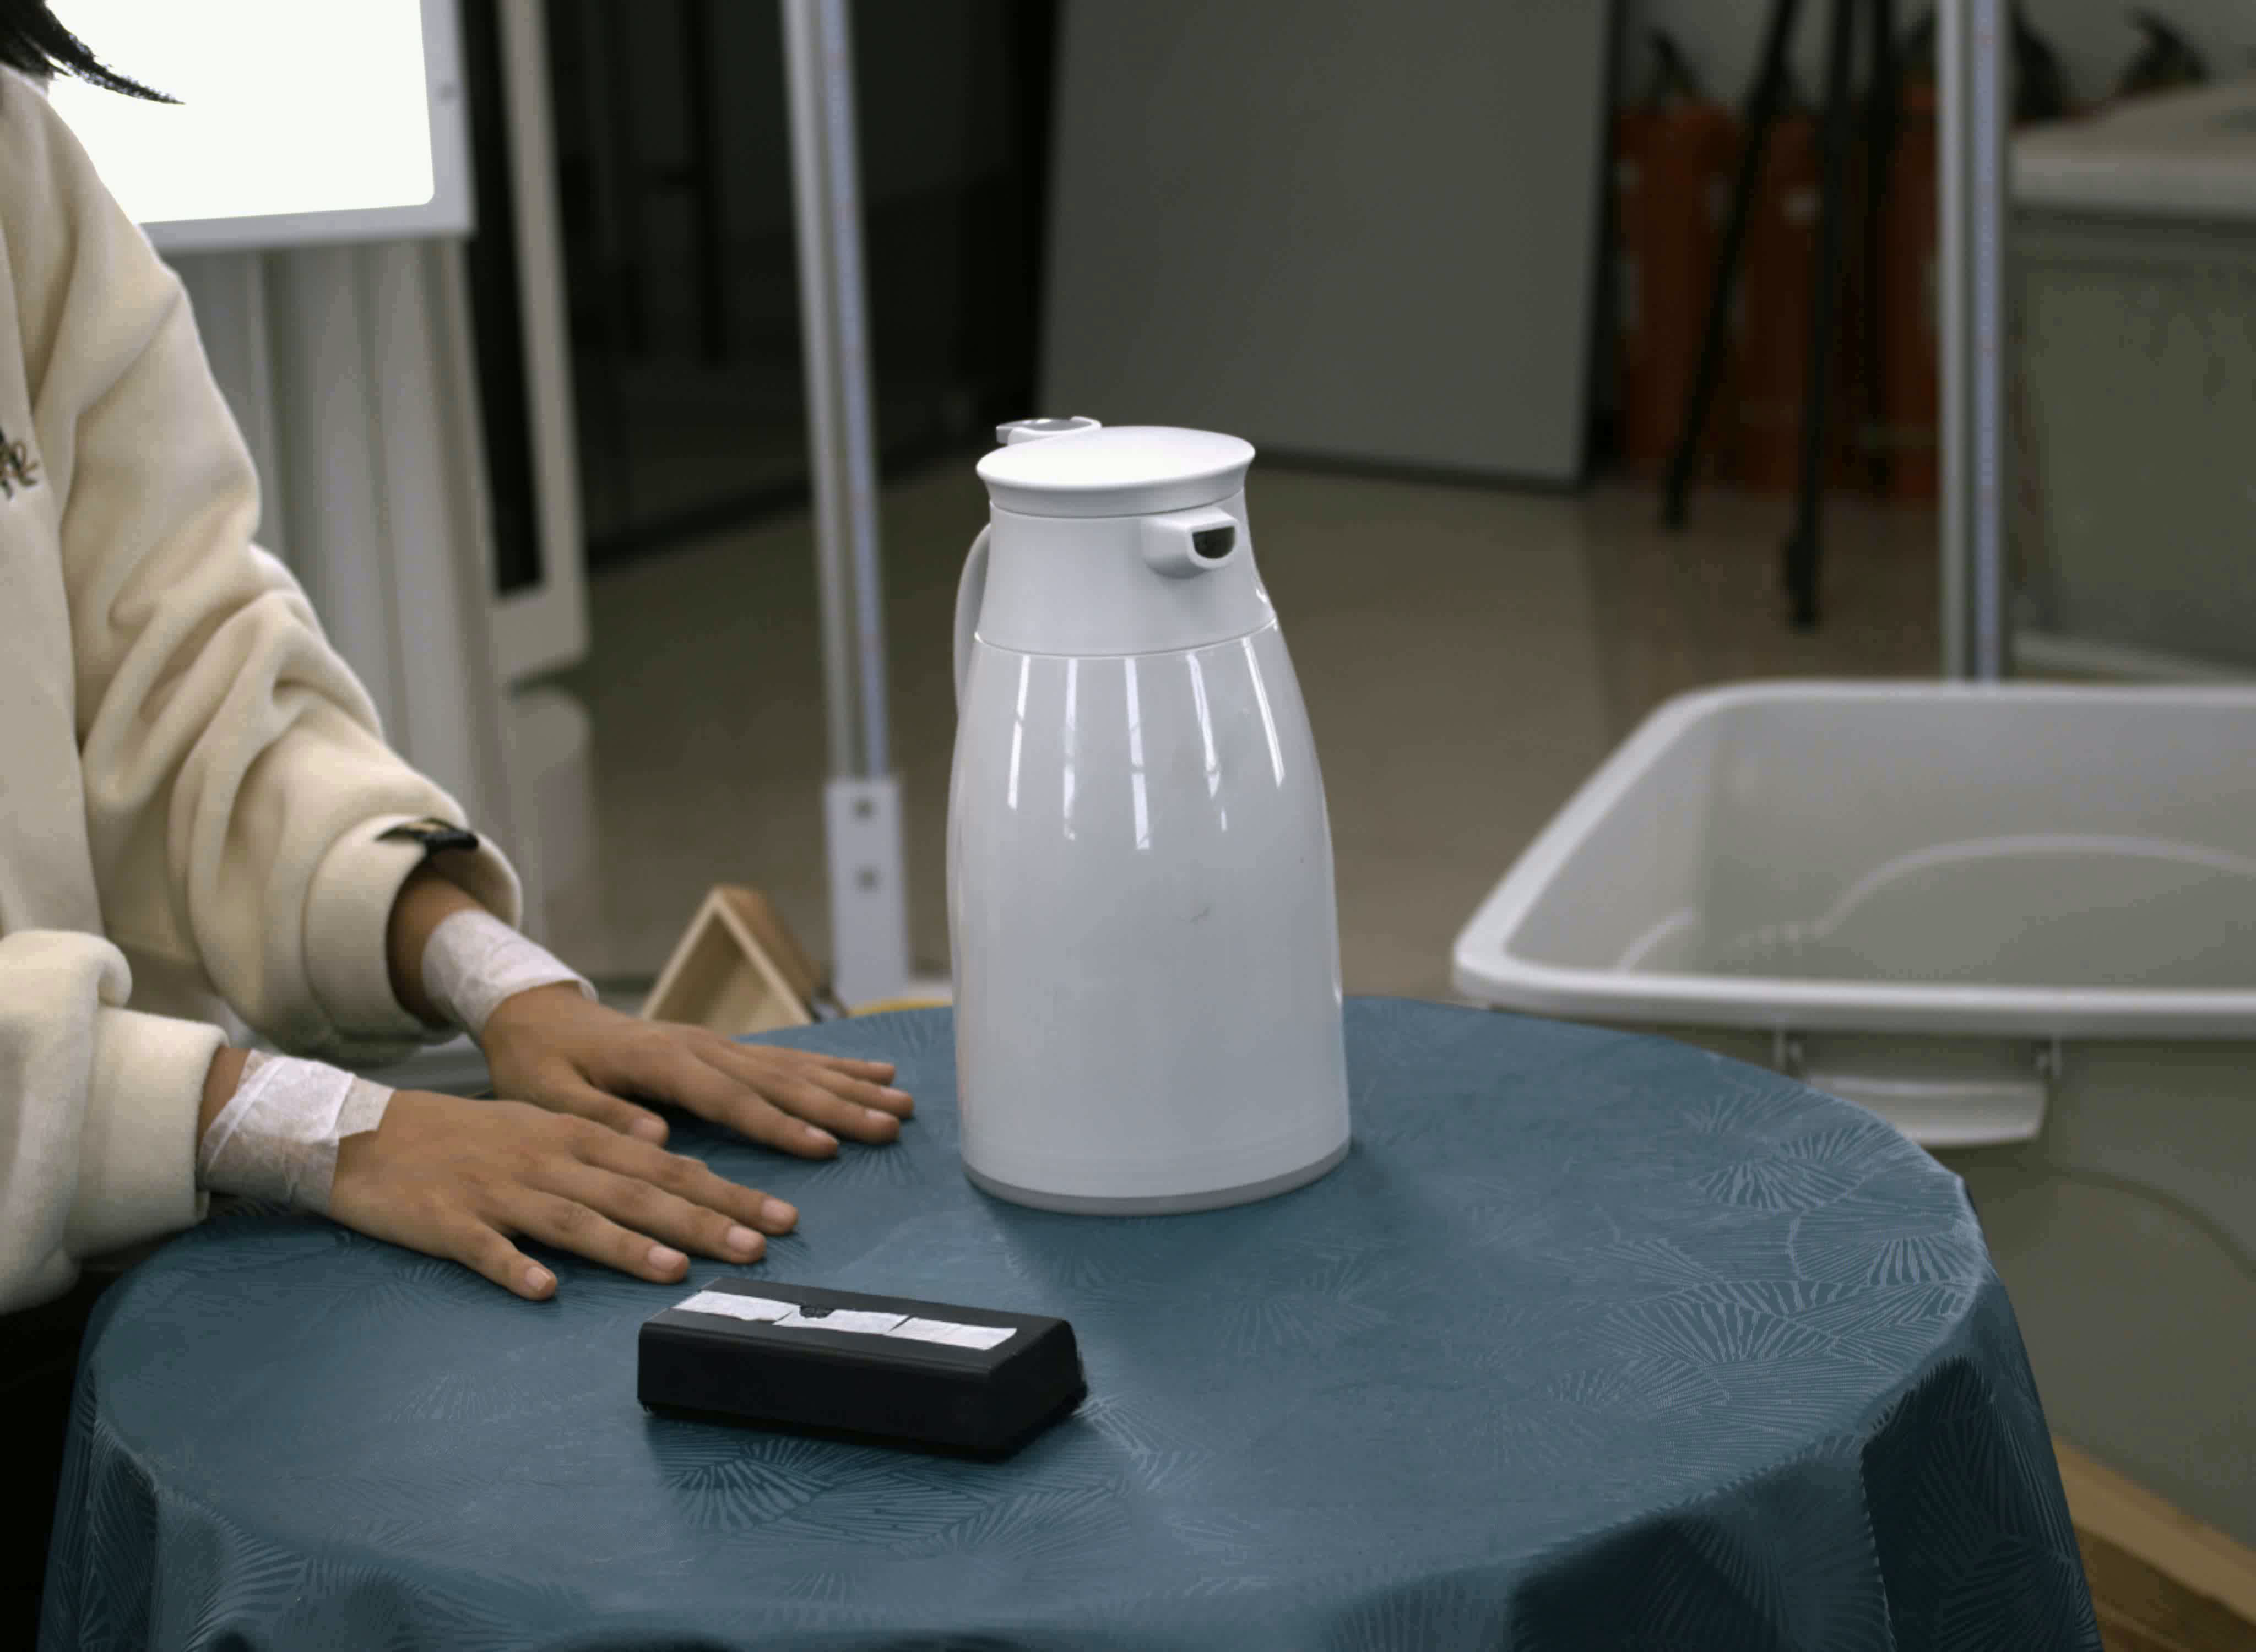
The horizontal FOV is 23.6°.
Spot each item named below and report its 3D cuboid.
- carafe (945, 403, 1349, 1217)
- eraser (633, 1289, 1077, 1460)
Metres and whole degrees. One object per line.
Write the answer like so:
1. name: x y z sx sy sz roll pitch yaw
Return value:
1. carafe: -0.009 -0.013 1.794 0.129 0.251 0.169 -12 14 -29
2. eraser: -0.079 0.159 1.577 0.126 0.031 0.053 3 13 28
